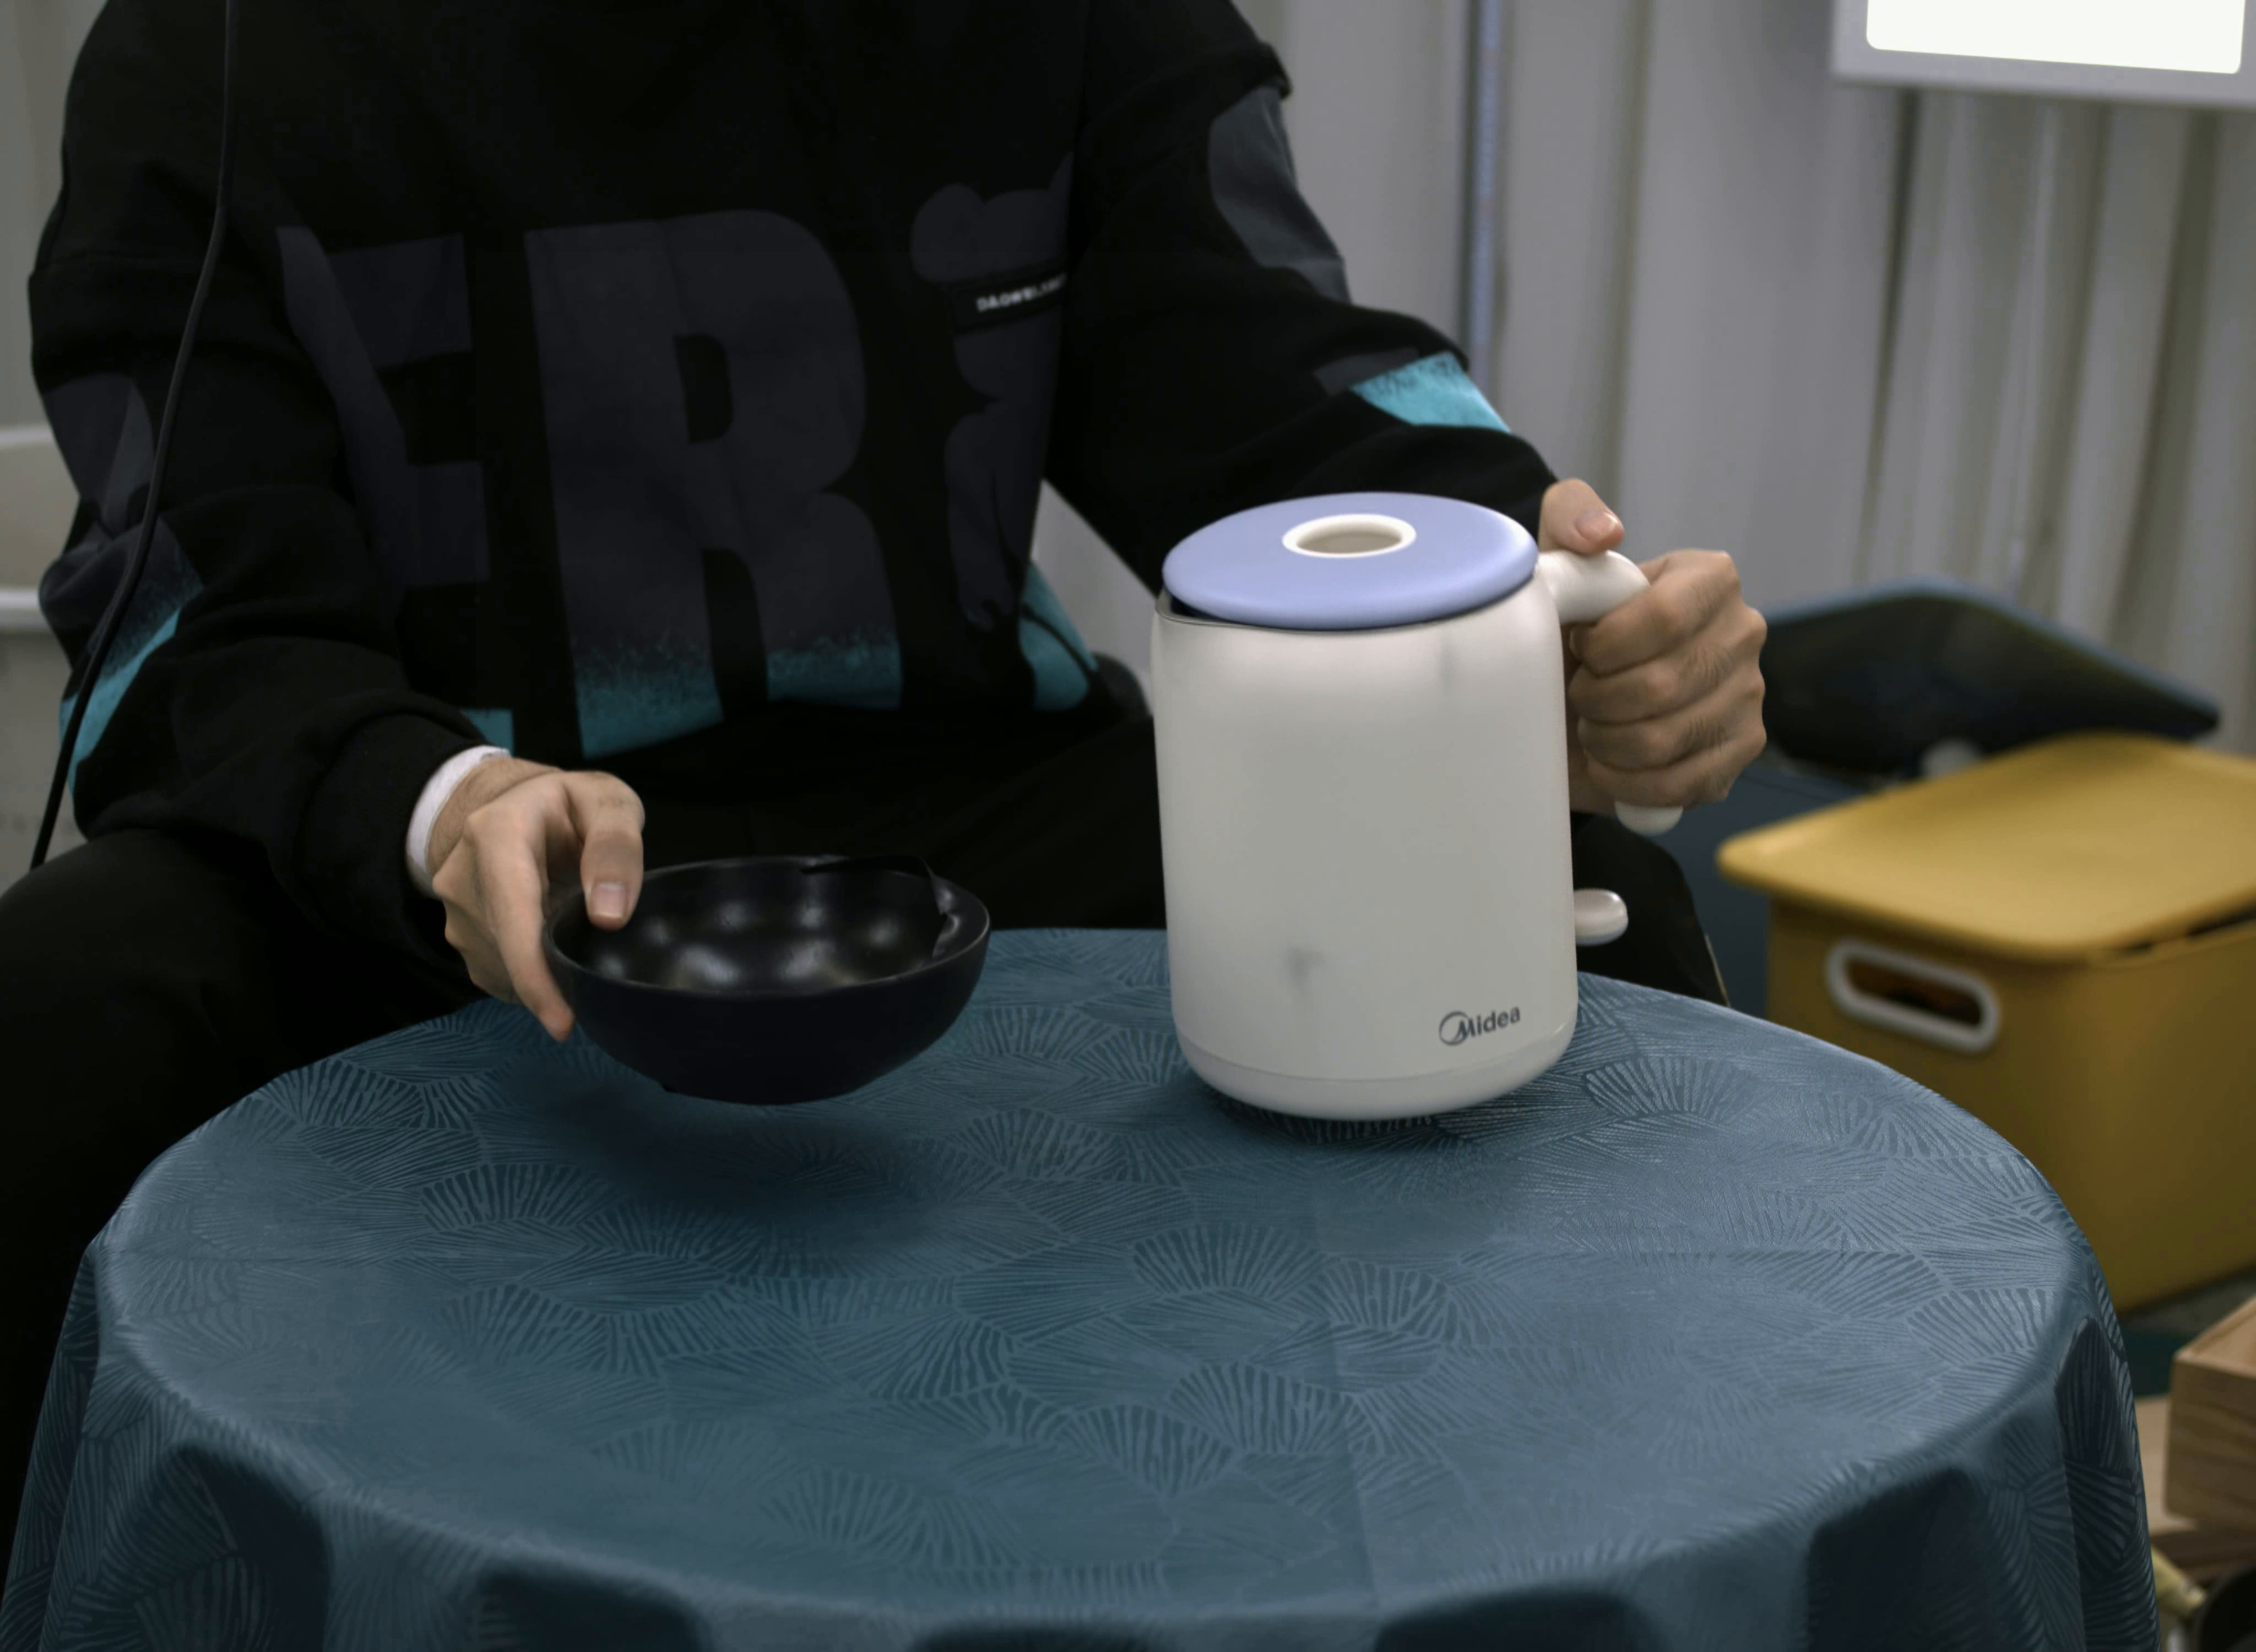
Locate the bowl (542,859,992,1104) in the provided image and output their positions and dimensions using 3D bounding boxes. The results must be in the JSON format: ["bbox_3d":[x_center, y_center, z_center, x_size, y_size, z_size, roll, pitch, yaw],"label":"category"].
[{"bbox_3d":[-0.110,0.052,1.626,0.139,0.050,0.139,-2,15,1],"label":"bowl"}]

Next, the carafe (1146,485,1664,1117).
[{"bbox_3d":[0.094,-0.014,1.689,0.192,0.184,0.130,-13,24,-29],"label":"carafe"}]
